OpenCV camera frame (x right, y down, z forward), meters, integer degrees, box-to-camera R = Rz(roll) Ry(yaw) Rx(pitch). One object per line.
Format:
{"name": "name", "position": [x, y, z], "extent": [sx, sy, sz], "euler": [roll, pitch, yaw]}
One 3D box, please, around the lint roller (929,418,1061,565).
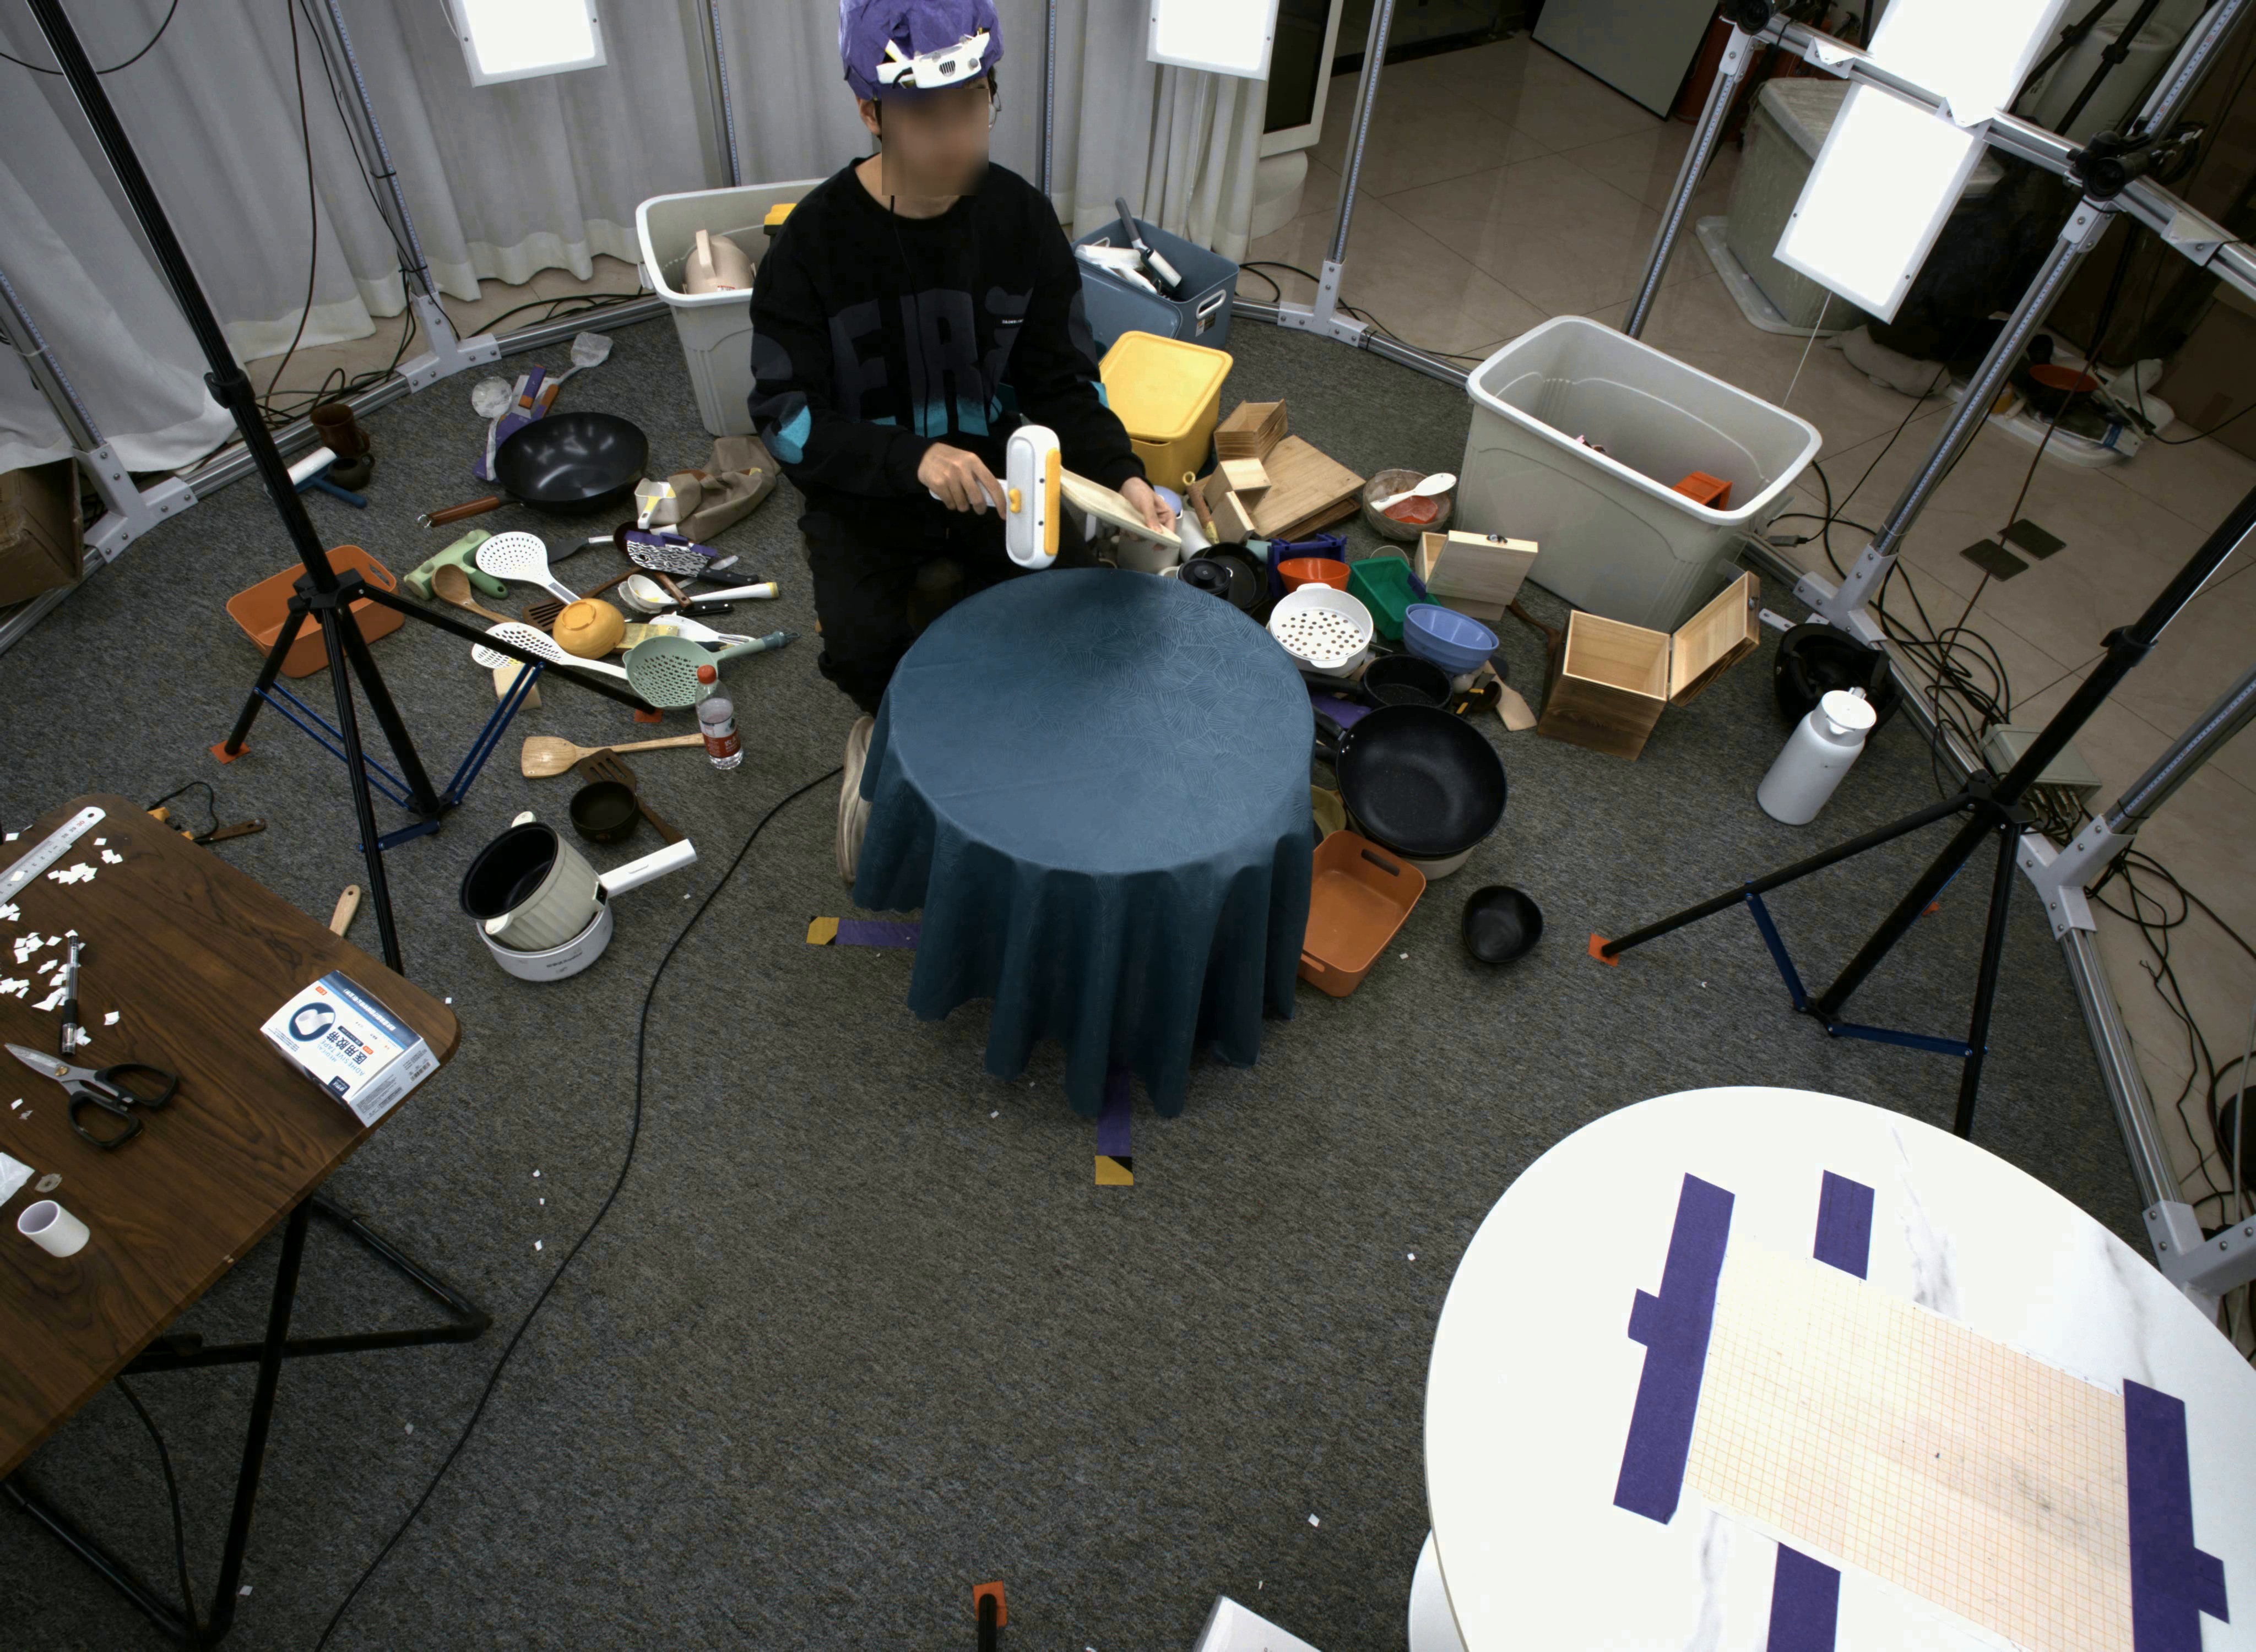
{"name": "lint roller", "position": [-0.181, -0.458, 1.767], "extent": [0.194, 0.189, 0.075], "euler": [14, 31, 30]}

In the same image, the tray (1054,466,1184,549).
{"name": "tray", "position": [-0.033, -0.461, 1.844], "extent": [0.237, 0.017, 0.174], "euler": [8, 28, -51]}
